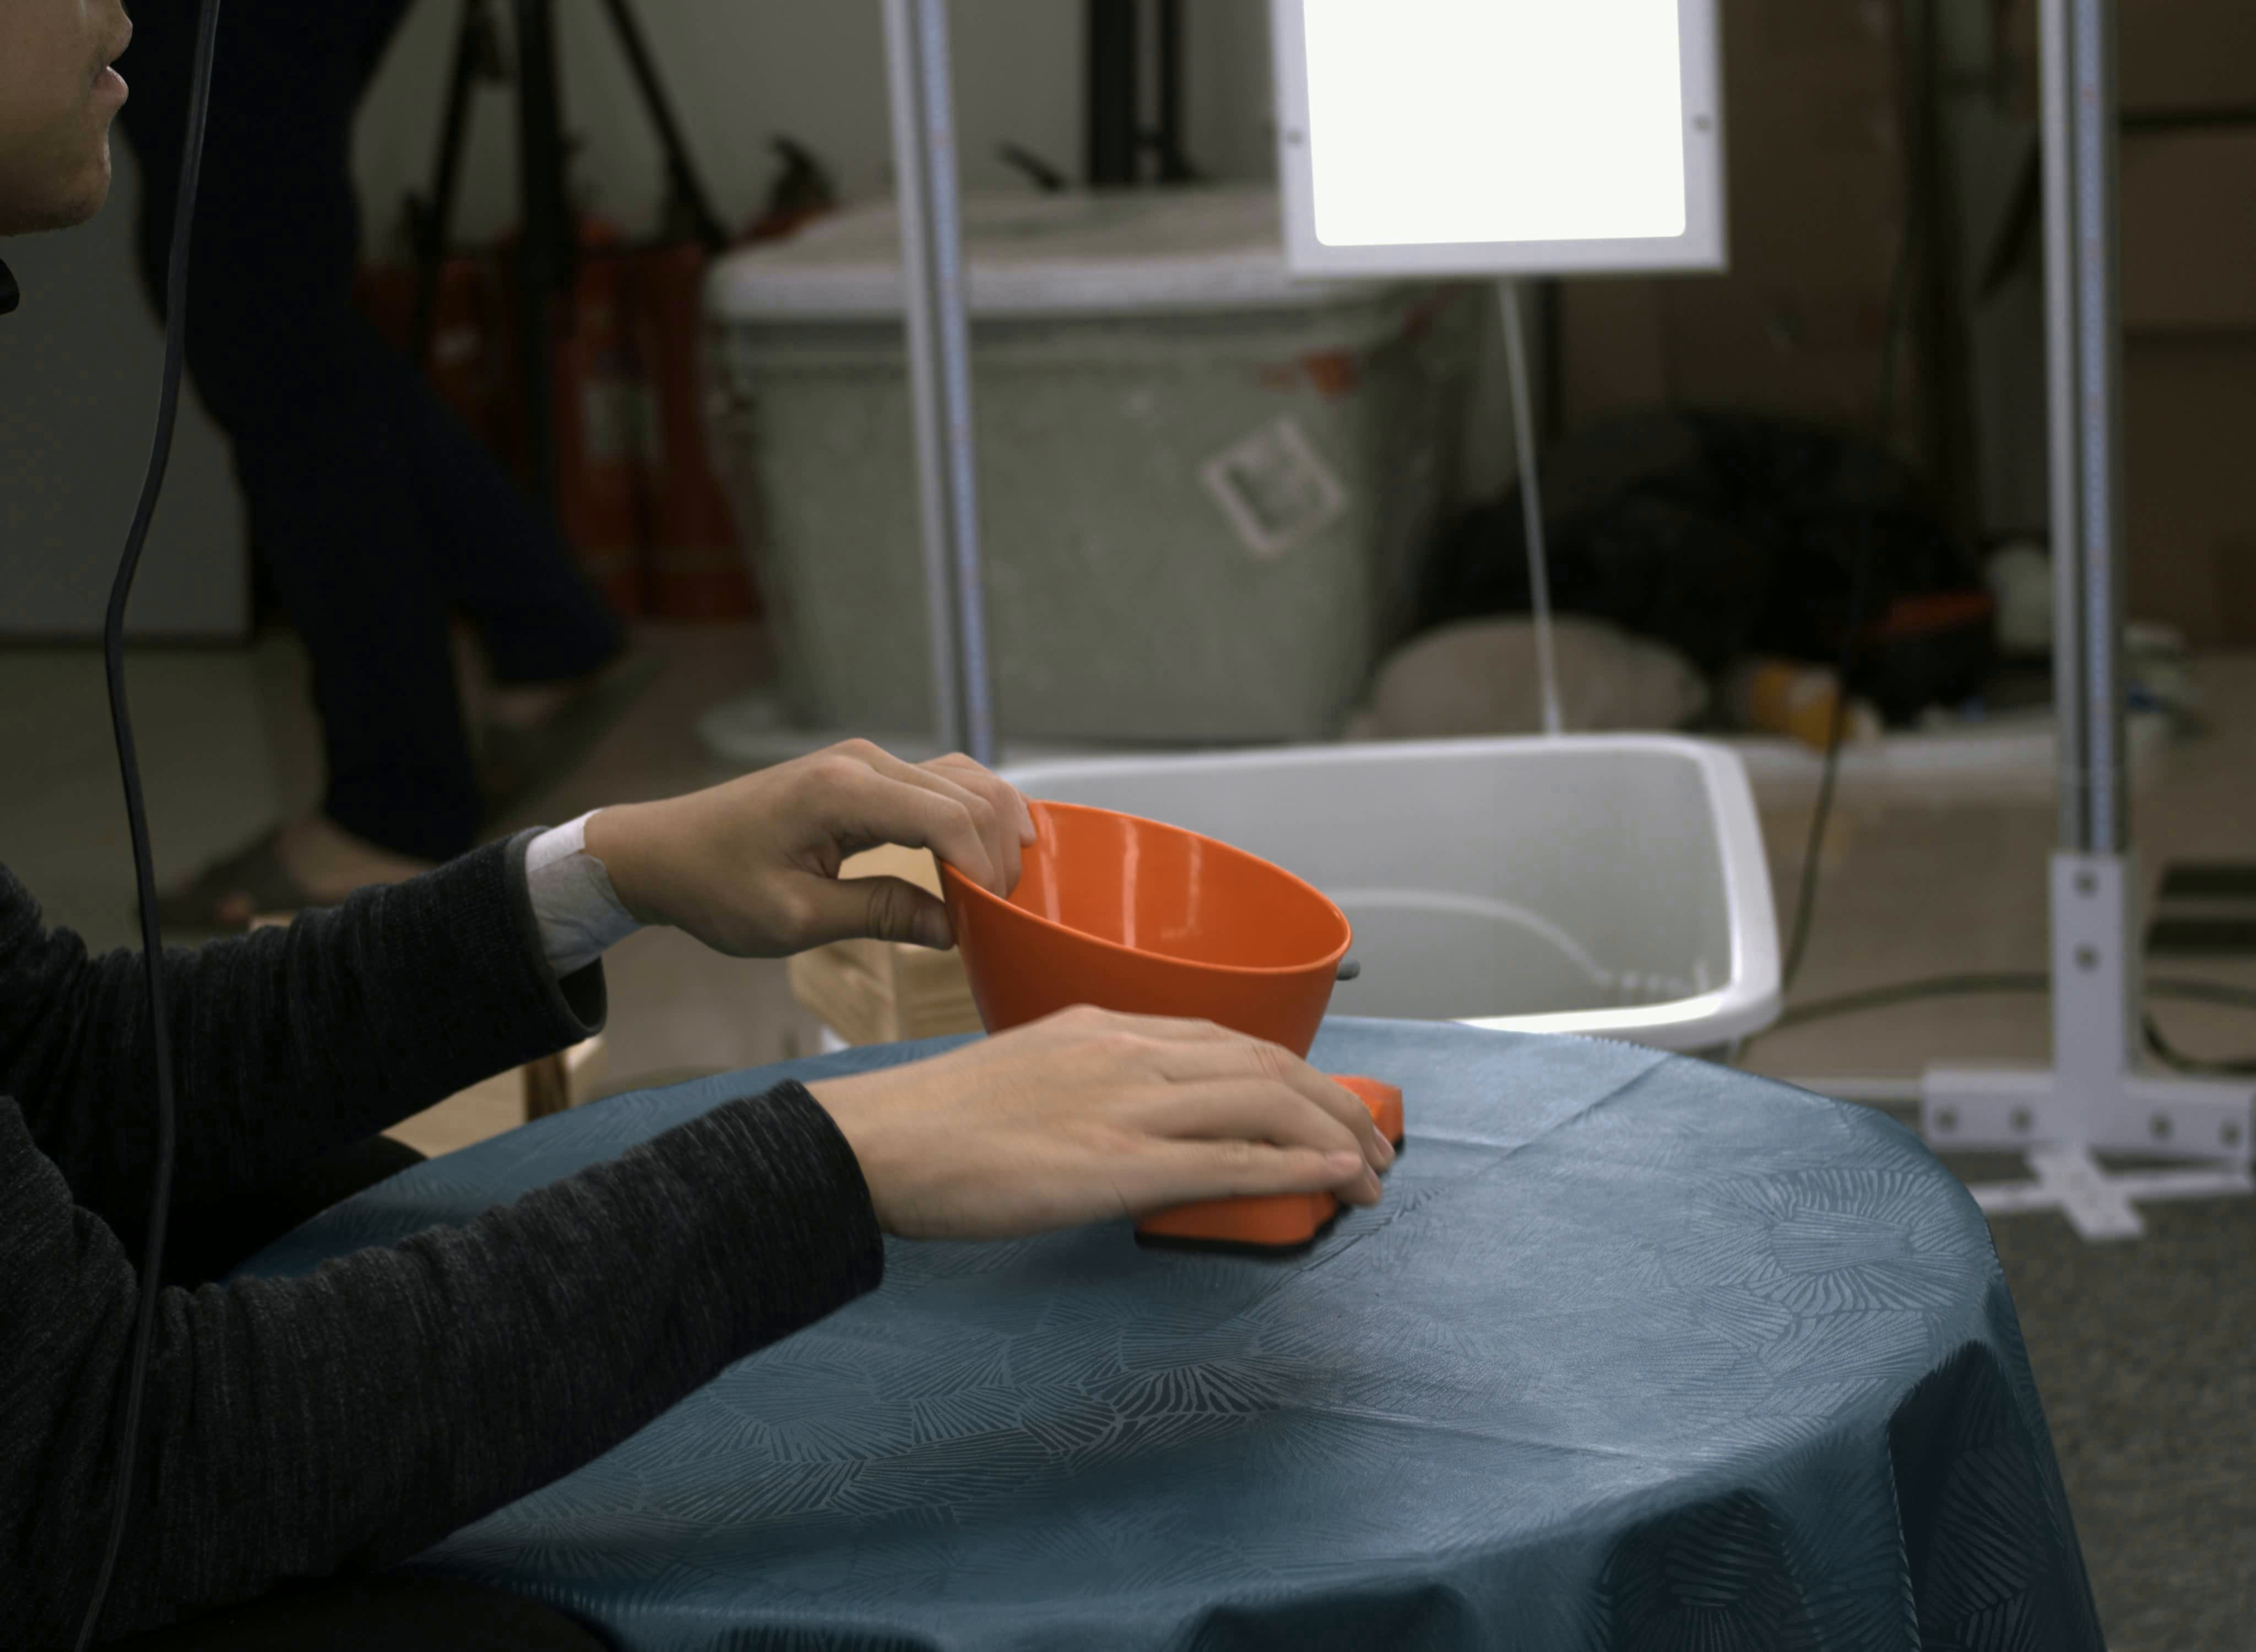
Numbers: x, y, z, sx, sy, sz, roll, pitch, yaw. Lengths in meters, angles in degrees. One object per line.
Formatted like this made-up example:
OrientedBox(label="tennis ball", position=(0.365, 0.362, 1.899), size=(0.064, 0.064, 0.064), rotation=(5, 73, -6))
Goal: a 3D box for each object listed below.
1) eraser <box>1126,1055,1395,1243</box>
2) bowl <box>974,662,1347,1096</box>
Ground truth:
OrientedBox(label="eraser", position=(0.042, 0.097, 1.675), size=(0.060, 0.023, 0.106), rotation=(3, 17, 20))
OrientedBox(label="bowl", position=(-0.004, 0.026, 1.858), size=(0.148, 0.104, 0.148), rotation=(30, -4, 0))
